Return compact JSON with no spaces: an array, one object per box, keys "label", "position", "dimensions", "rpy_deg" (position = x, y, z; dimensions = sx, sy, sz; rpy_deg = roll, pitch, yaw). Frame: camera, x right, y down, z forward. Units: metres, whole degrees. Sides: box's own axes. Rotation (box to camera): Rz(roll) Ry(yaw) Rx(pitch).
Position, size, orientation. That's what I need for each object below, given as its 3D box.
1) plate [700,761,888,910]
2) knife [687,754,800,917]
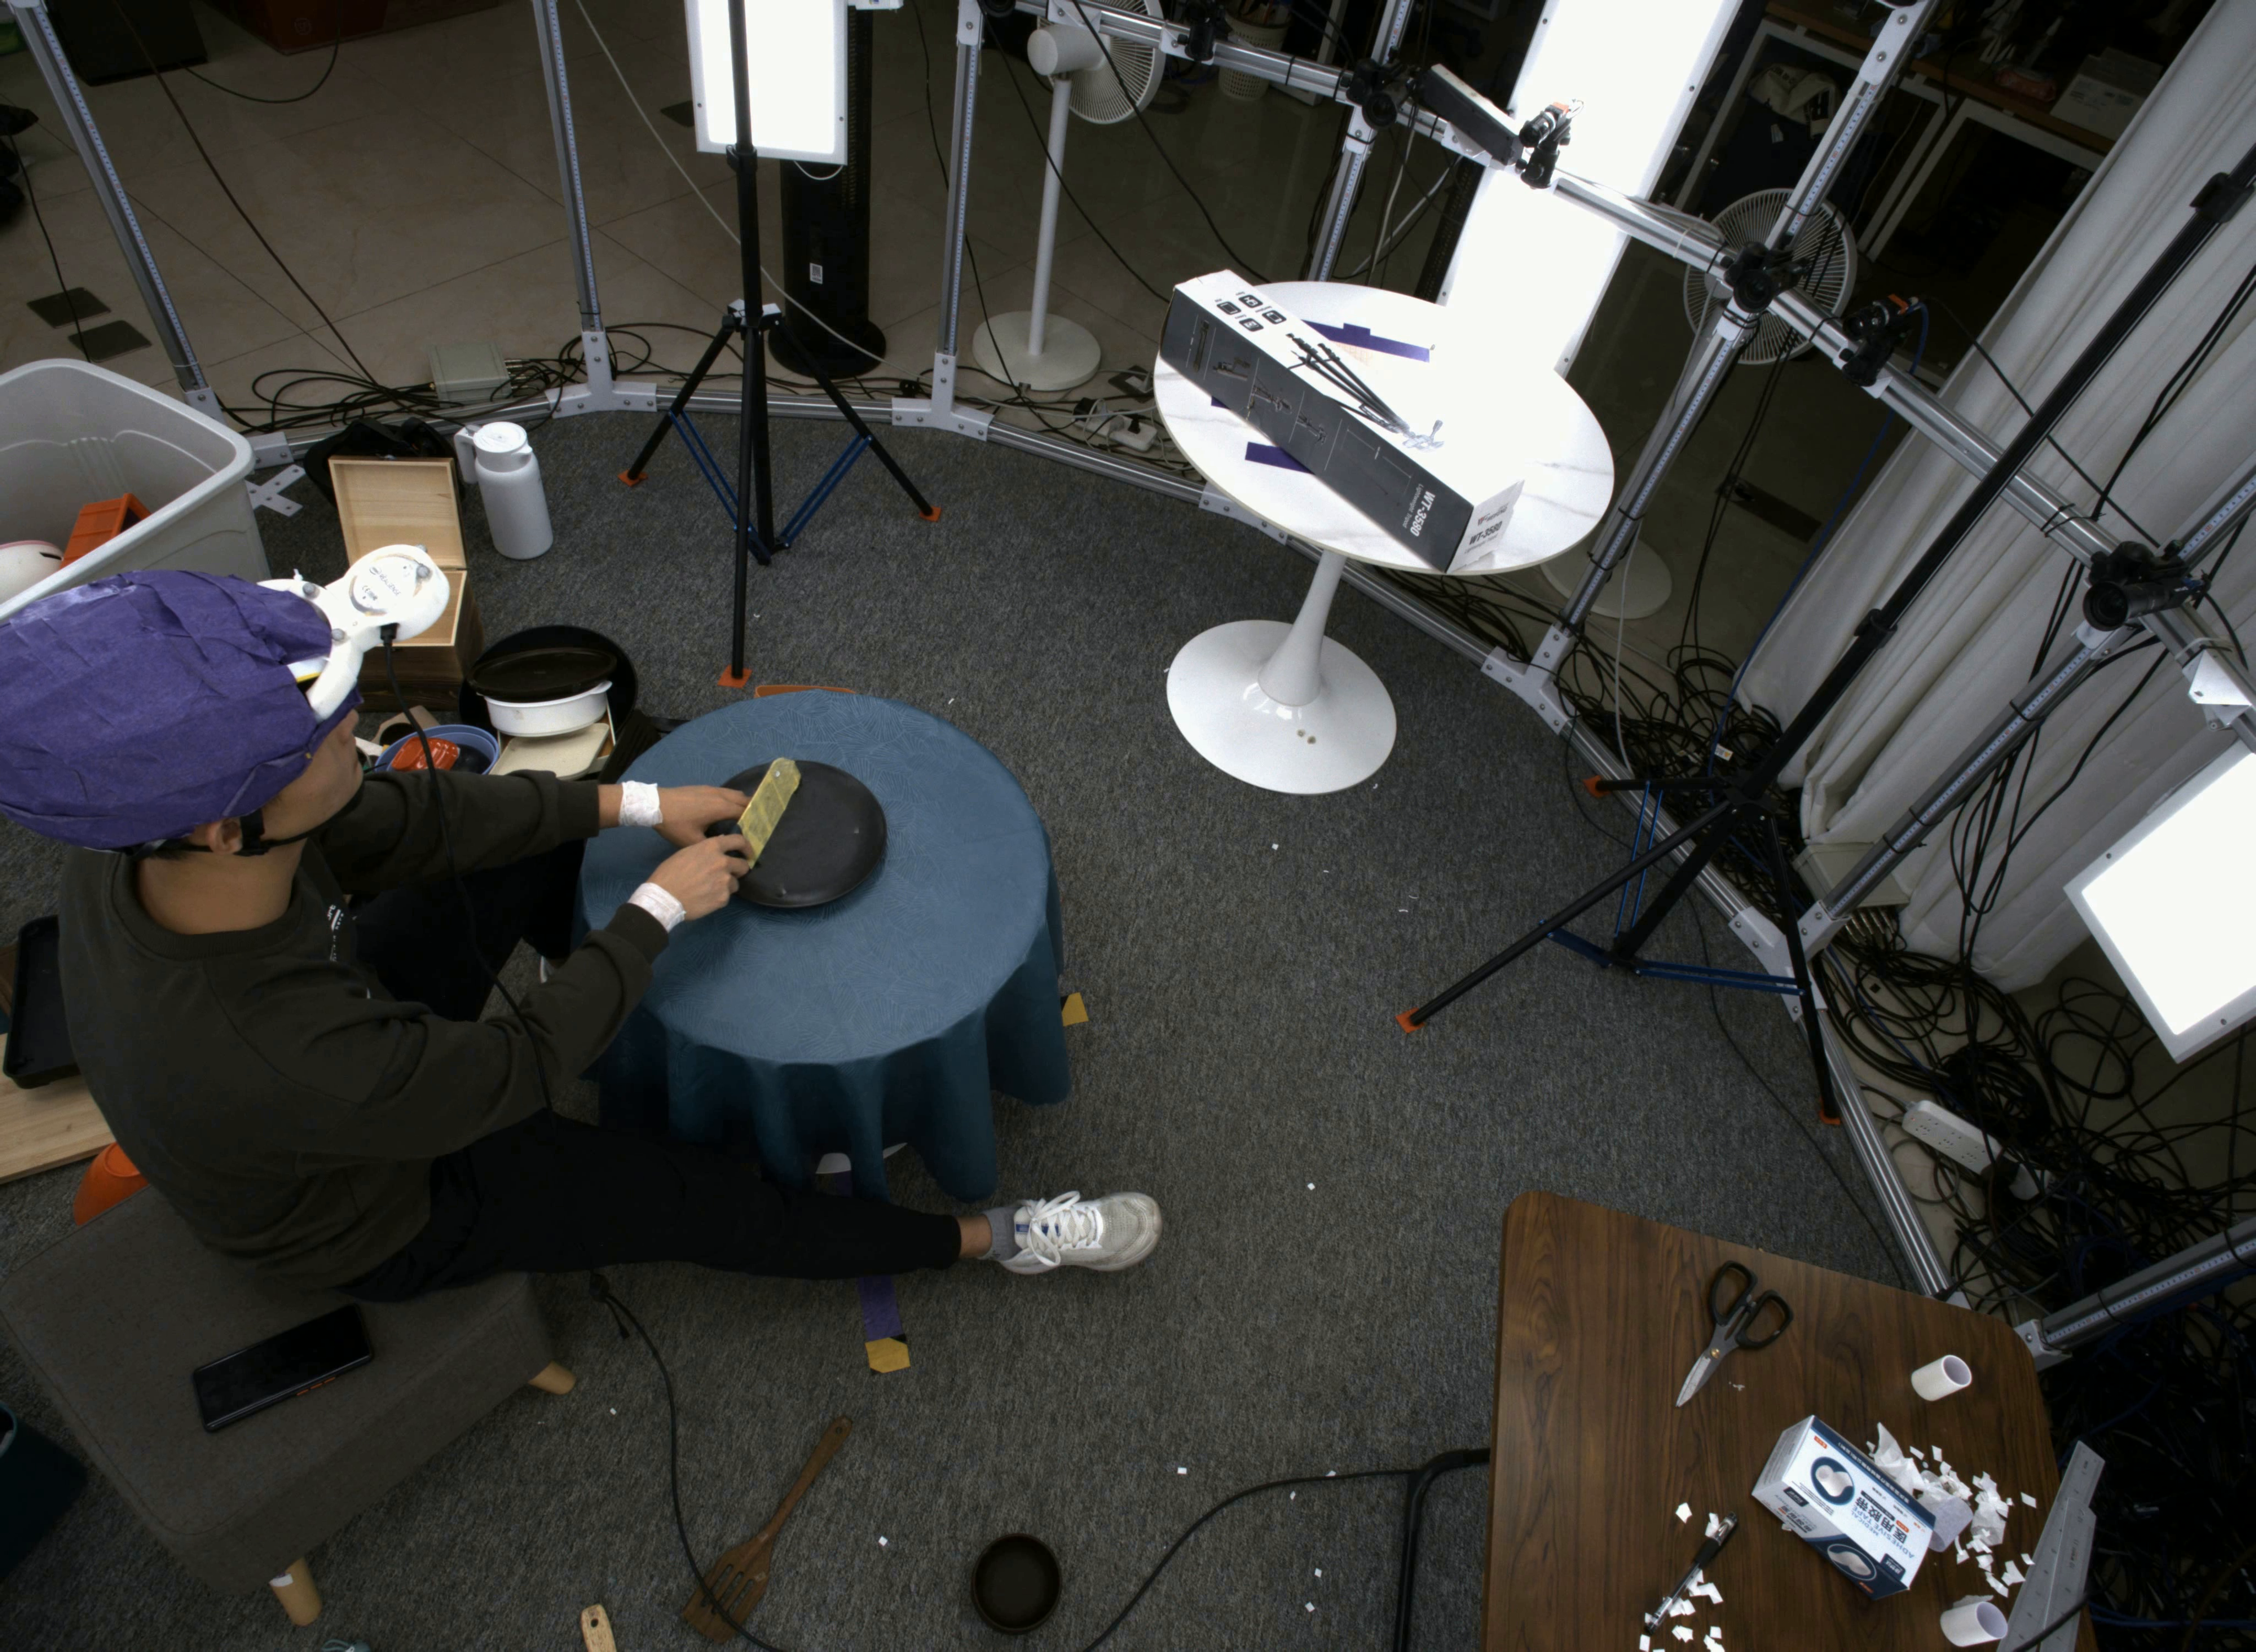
[{"label":"plate","position":[-0.439,0.012,1.707],"dimensions":[0.244,0.024,0.240],"rpy_deg":[8,53,-9]},{"label":"knife","position":[-0.484,0.011,1.653],"dimensions":[0.026,0.084,0.286],"rpy_deg":[6,47,18]}]
